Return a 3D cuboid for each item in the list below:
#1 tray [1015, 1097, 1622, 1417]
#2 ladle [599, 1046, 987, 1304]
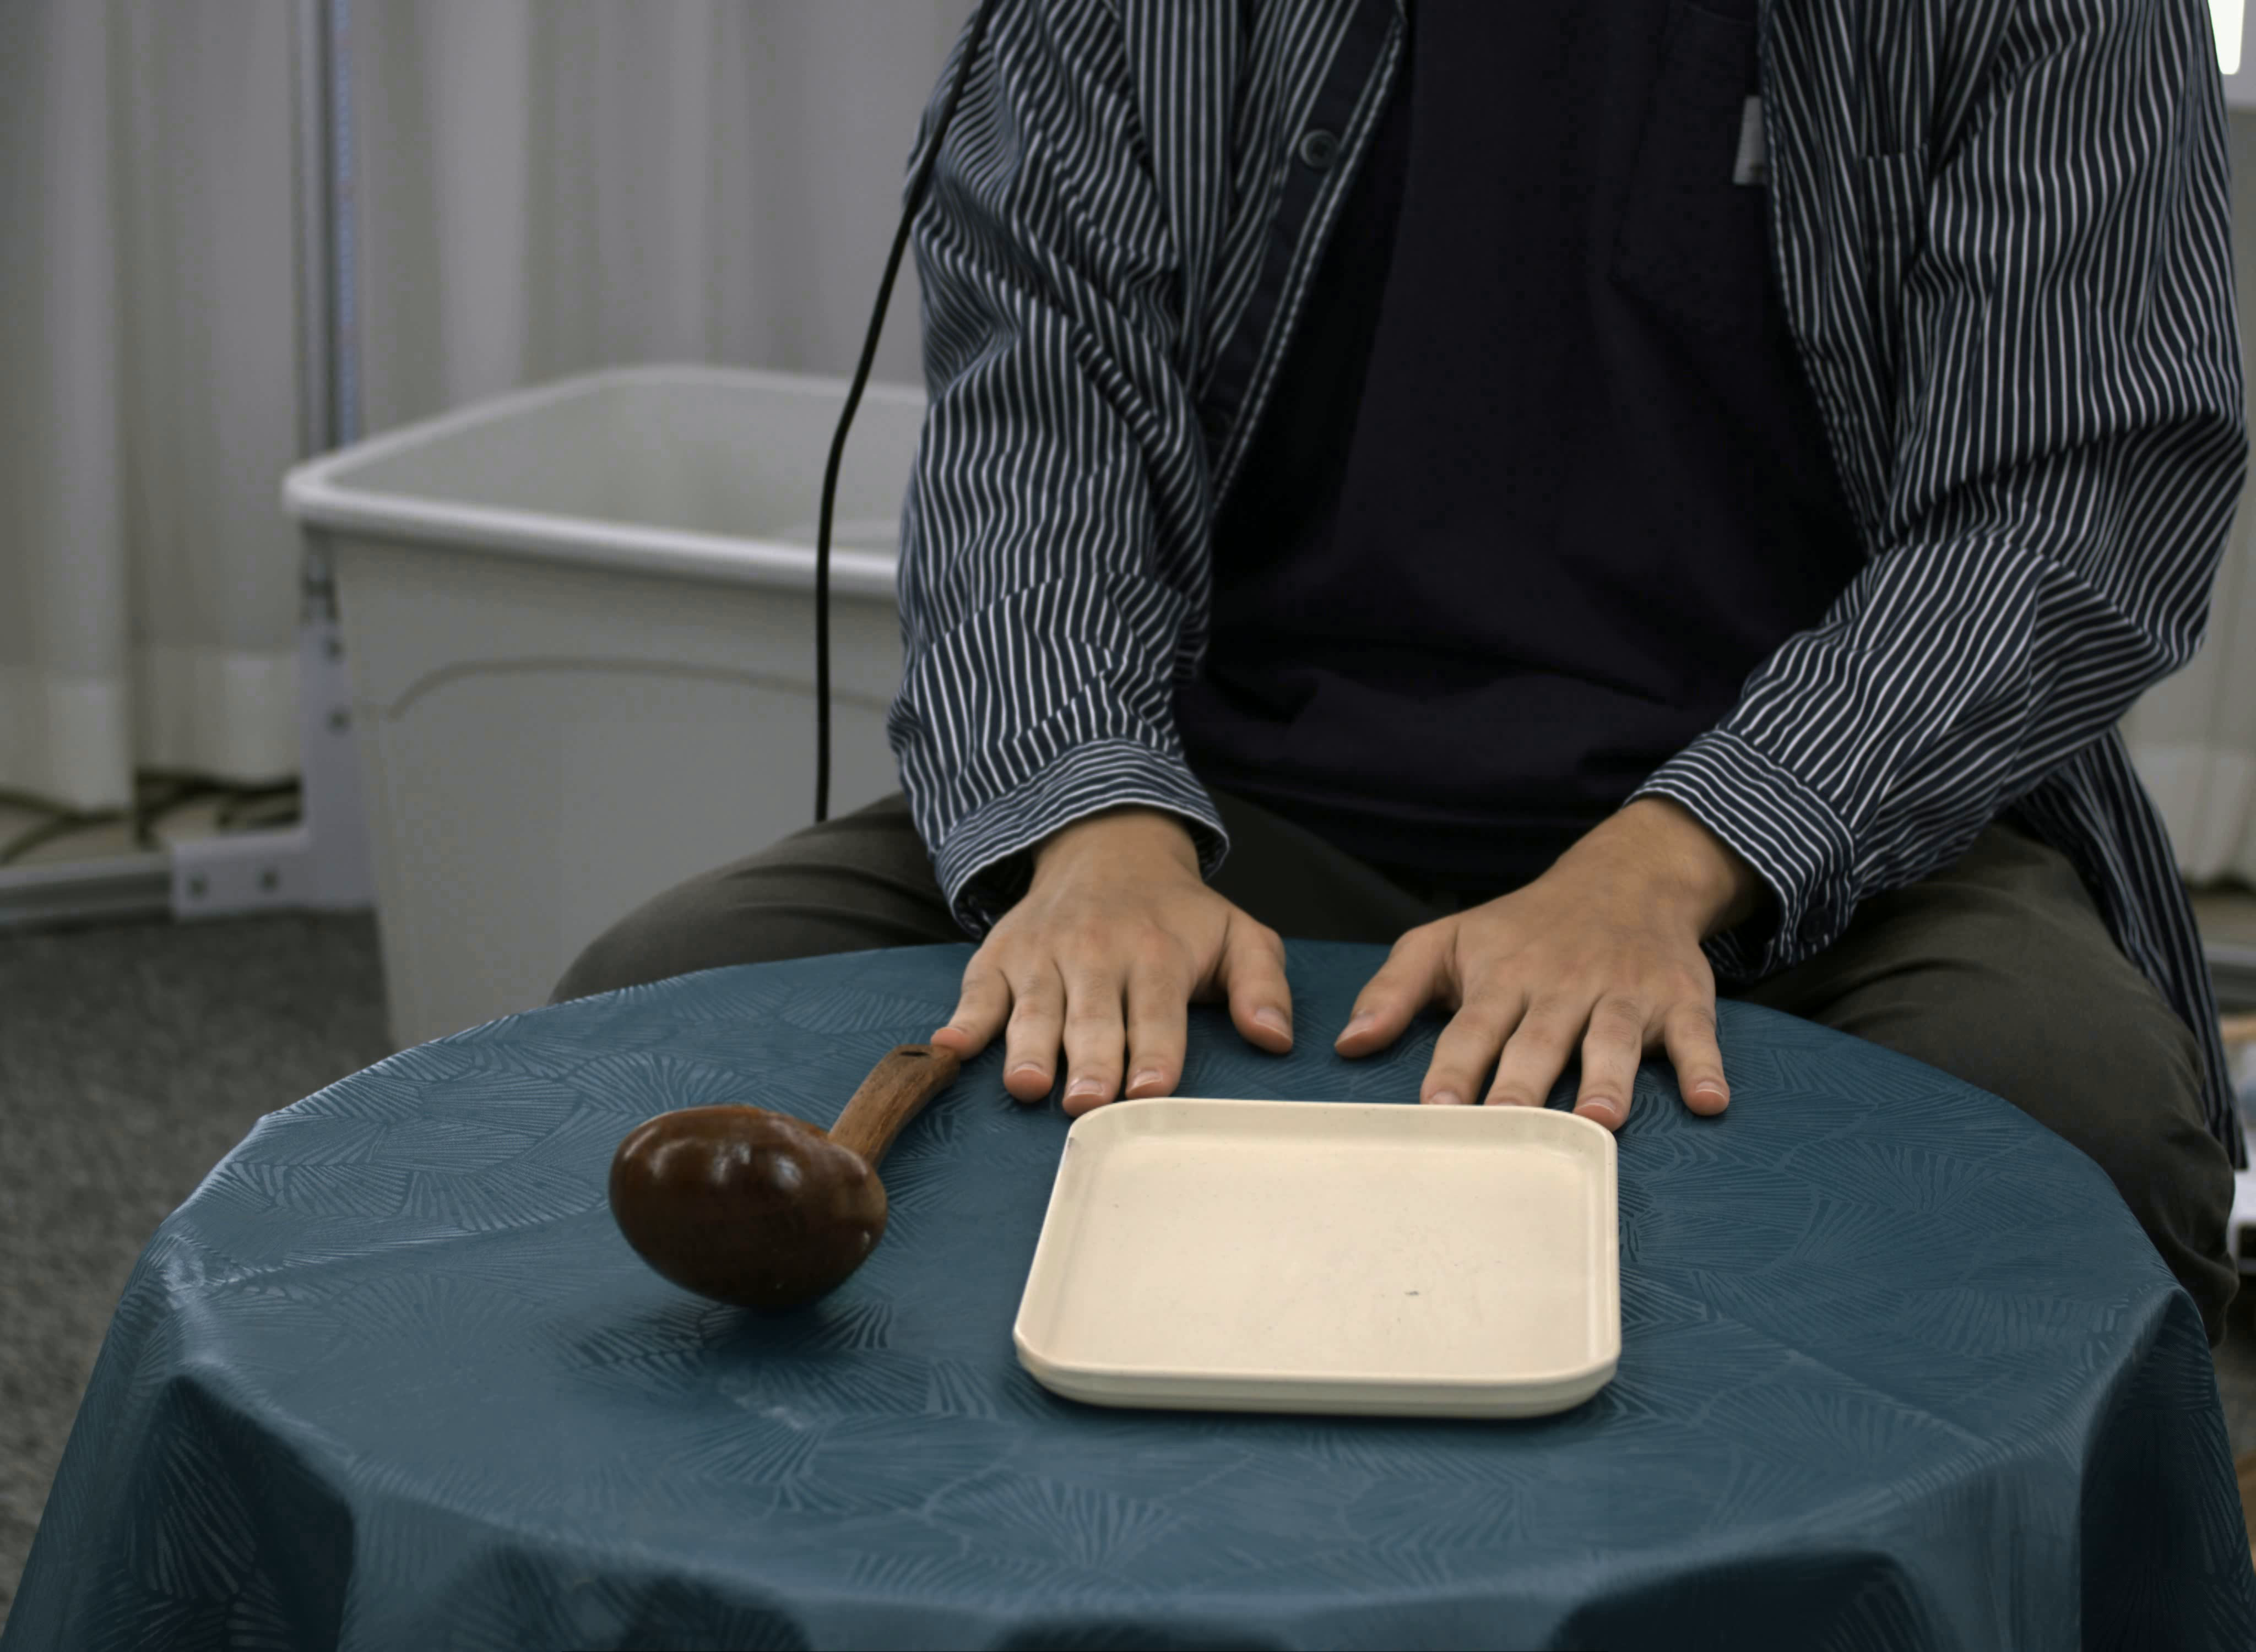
[{"bbox_3d":[0.059,0.125,1.551,0.170,0.017,0.239,2,15,4],"label":"tray"},{"bbox_3d":[-0.088,0.080,1.596,0.081,0.077,0.273,8,16,11],"label":"ladle"}]
